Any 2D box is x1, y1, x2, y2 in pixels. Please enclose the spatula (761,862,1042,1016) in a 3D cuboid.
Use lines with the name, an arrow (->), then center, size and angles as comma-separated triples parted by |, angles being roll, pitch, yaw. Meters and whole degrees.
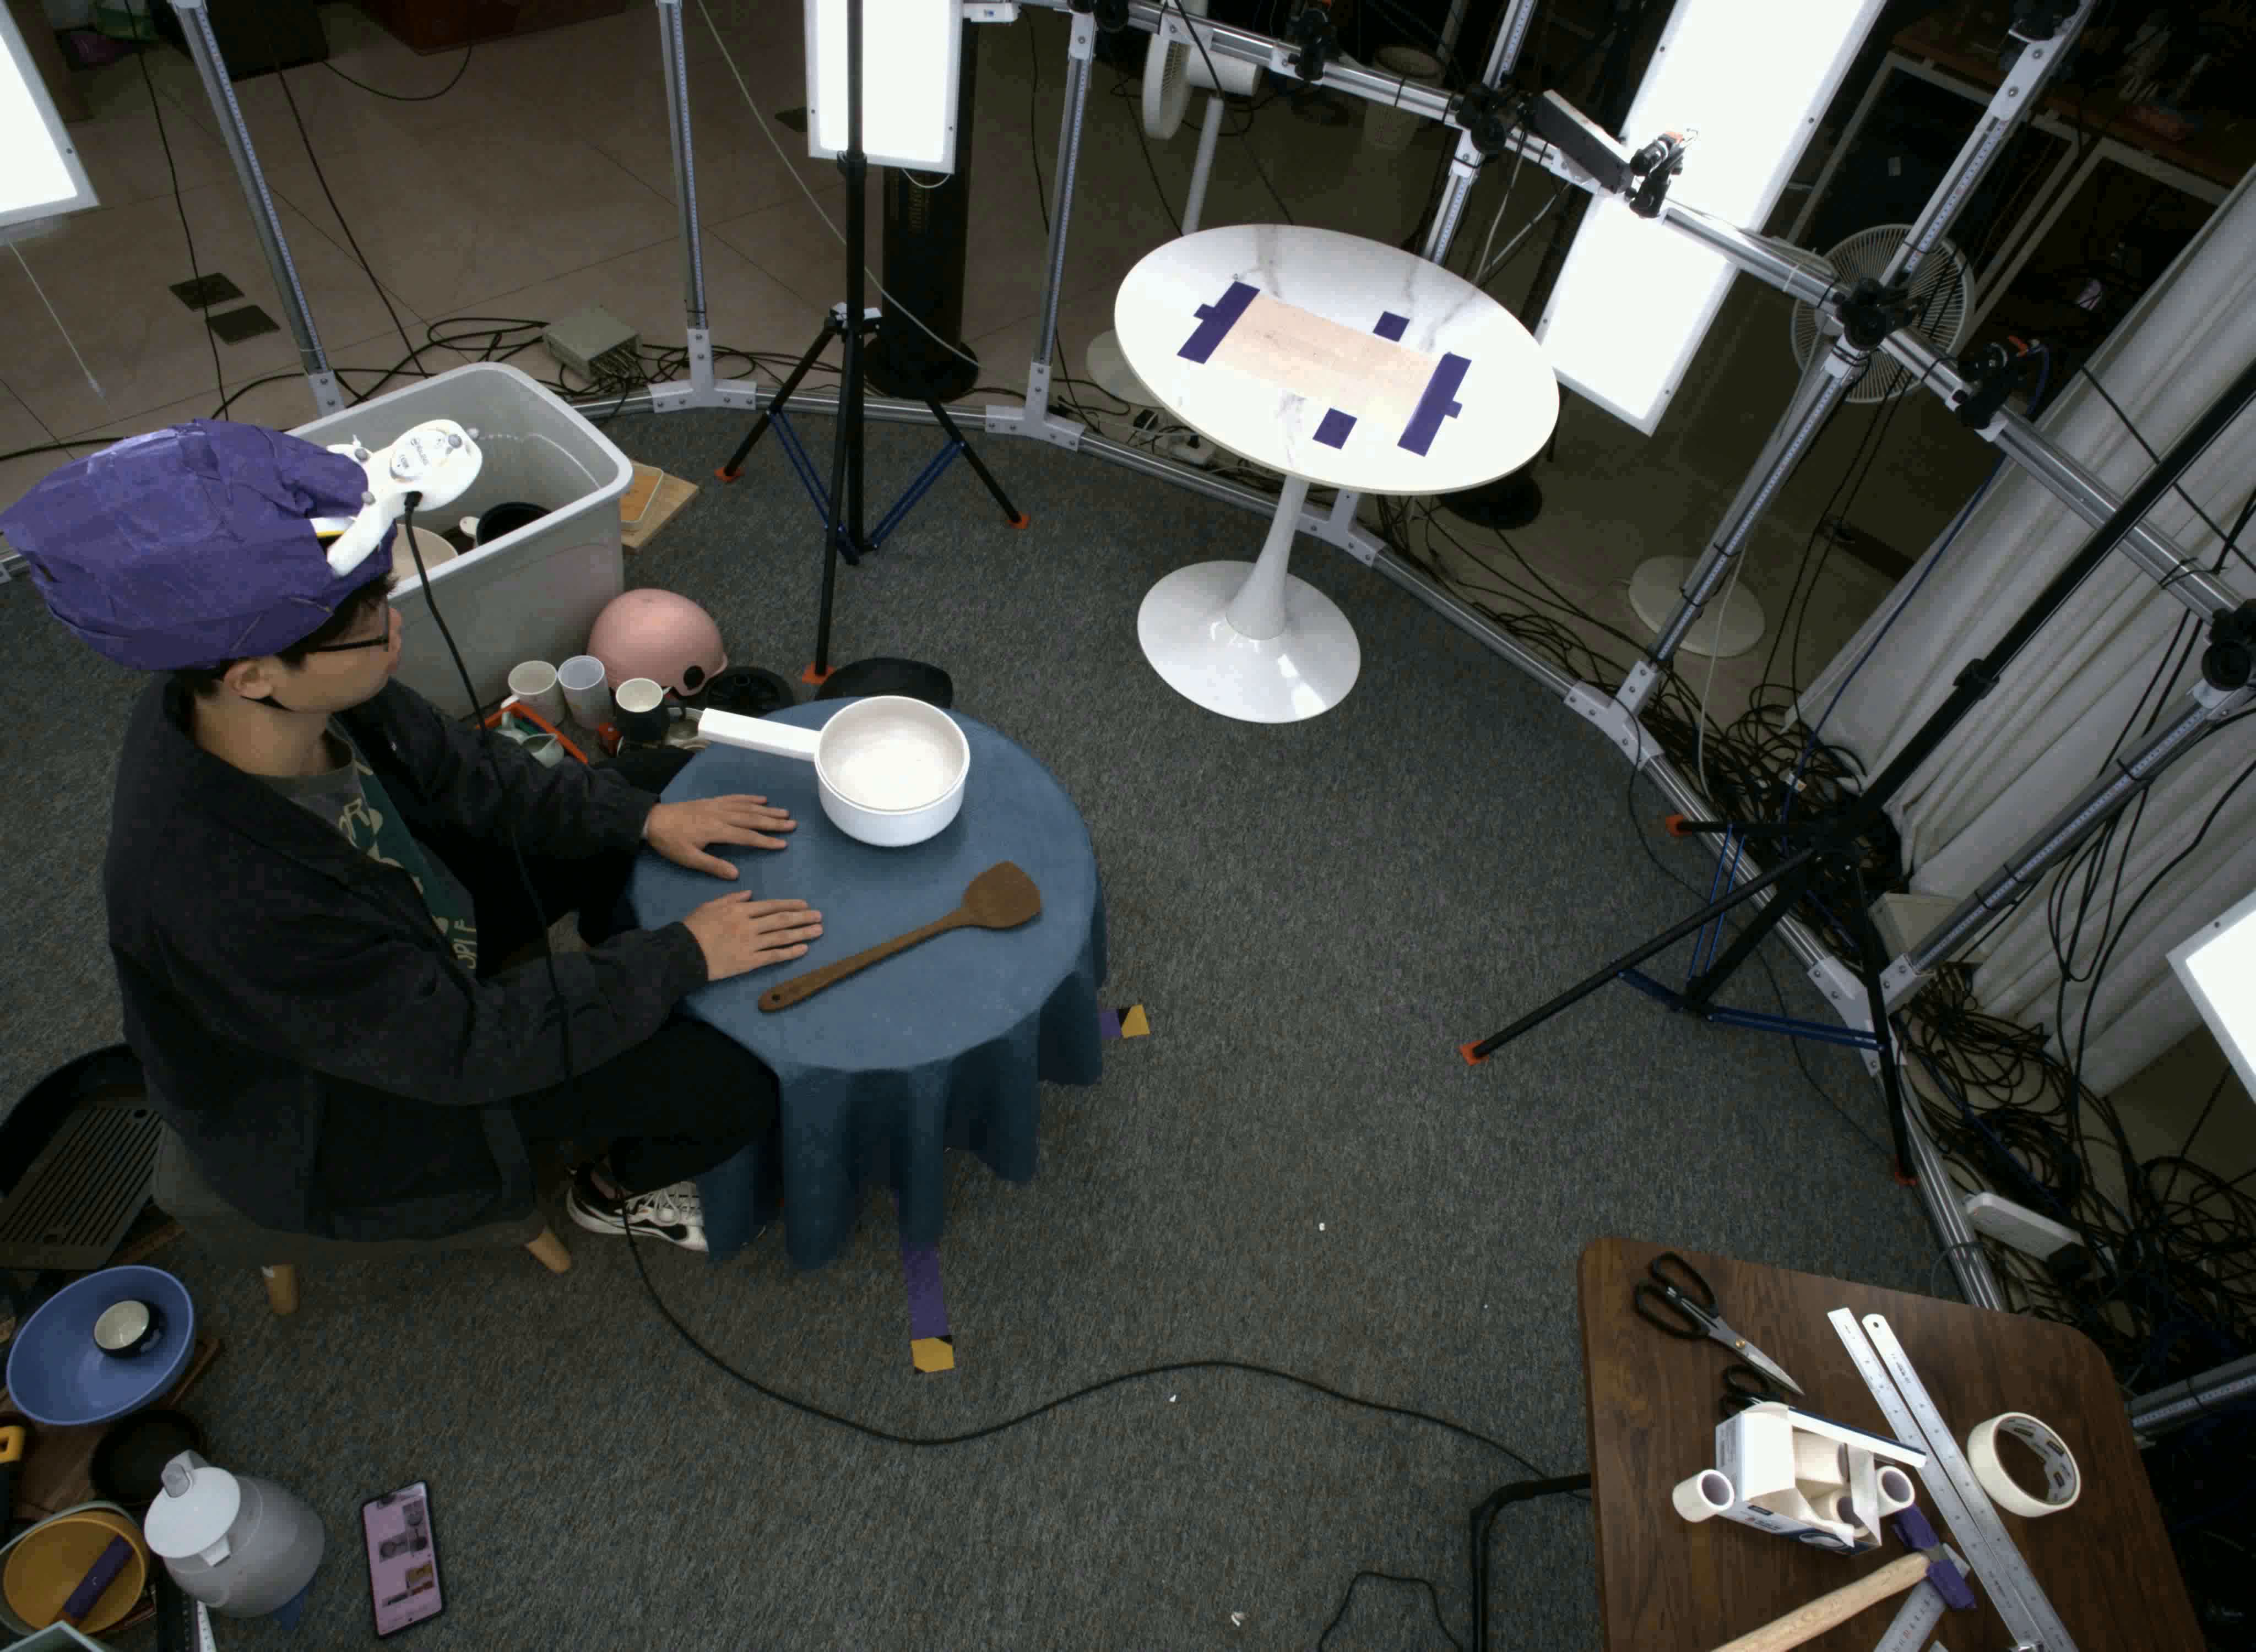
spatula -> -0.284, 0.147, 1.641 | 0.387, 0.016, 0.093 | -25, 62, -28

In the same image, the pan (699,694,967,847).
pan -> -0.392, -0.082, 1.733 | 0.352, 0.104, 0.198 | 10, 53, -4
